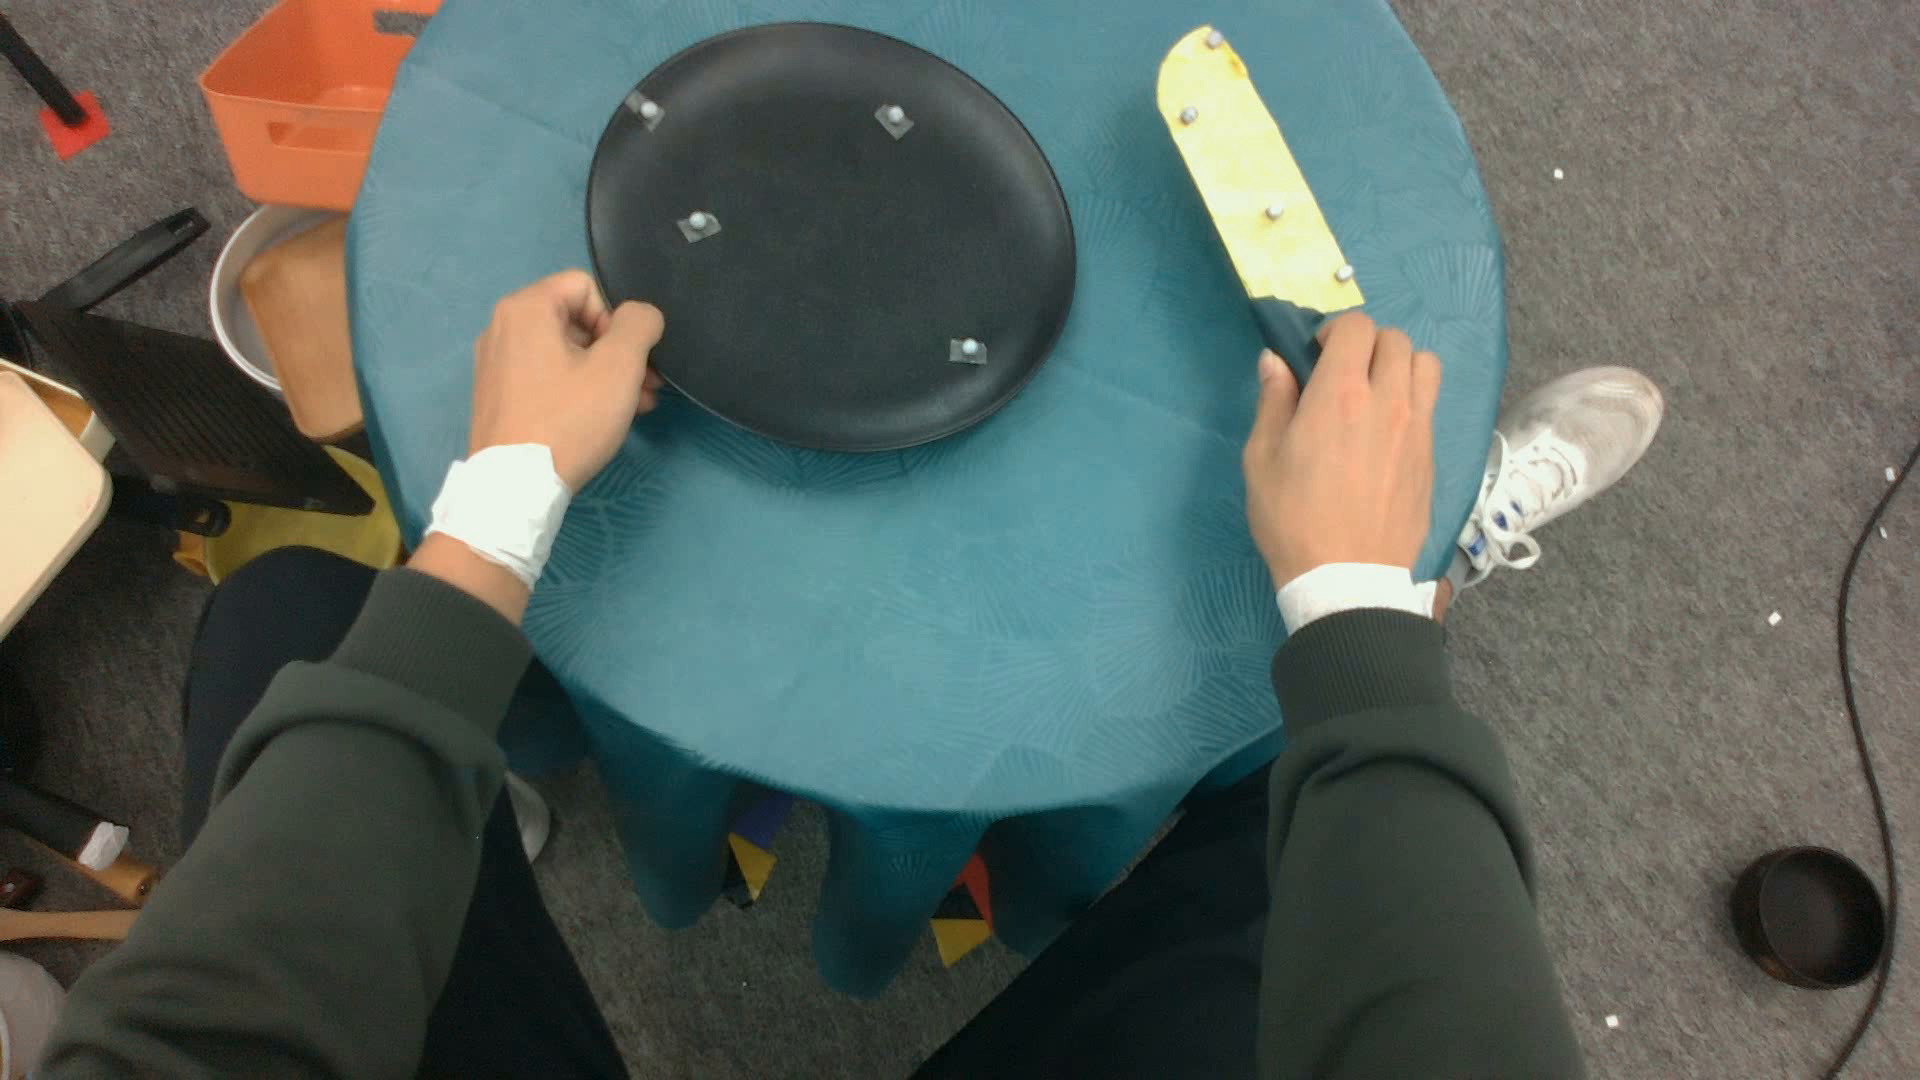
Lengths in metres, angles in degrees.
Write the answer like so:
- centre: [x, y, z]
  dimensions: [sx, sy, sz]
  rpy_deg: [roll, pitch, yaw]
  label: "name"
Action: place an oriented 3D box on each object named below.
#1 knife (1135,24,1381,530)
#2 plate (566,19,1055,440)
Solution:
- centre: [0.156, -0.141, 0.700]
  dimensions: [0.081, 0.027, 0.290]
  rpy_deg: [-12, 76, -29]
  label: "knife"
- centre: [-0.071, -0.158, 0.691]
  dimensions: [0.244, 0.023, 0.245]
  rpy_deg: [5, 68, -12]
  label: "plate"
